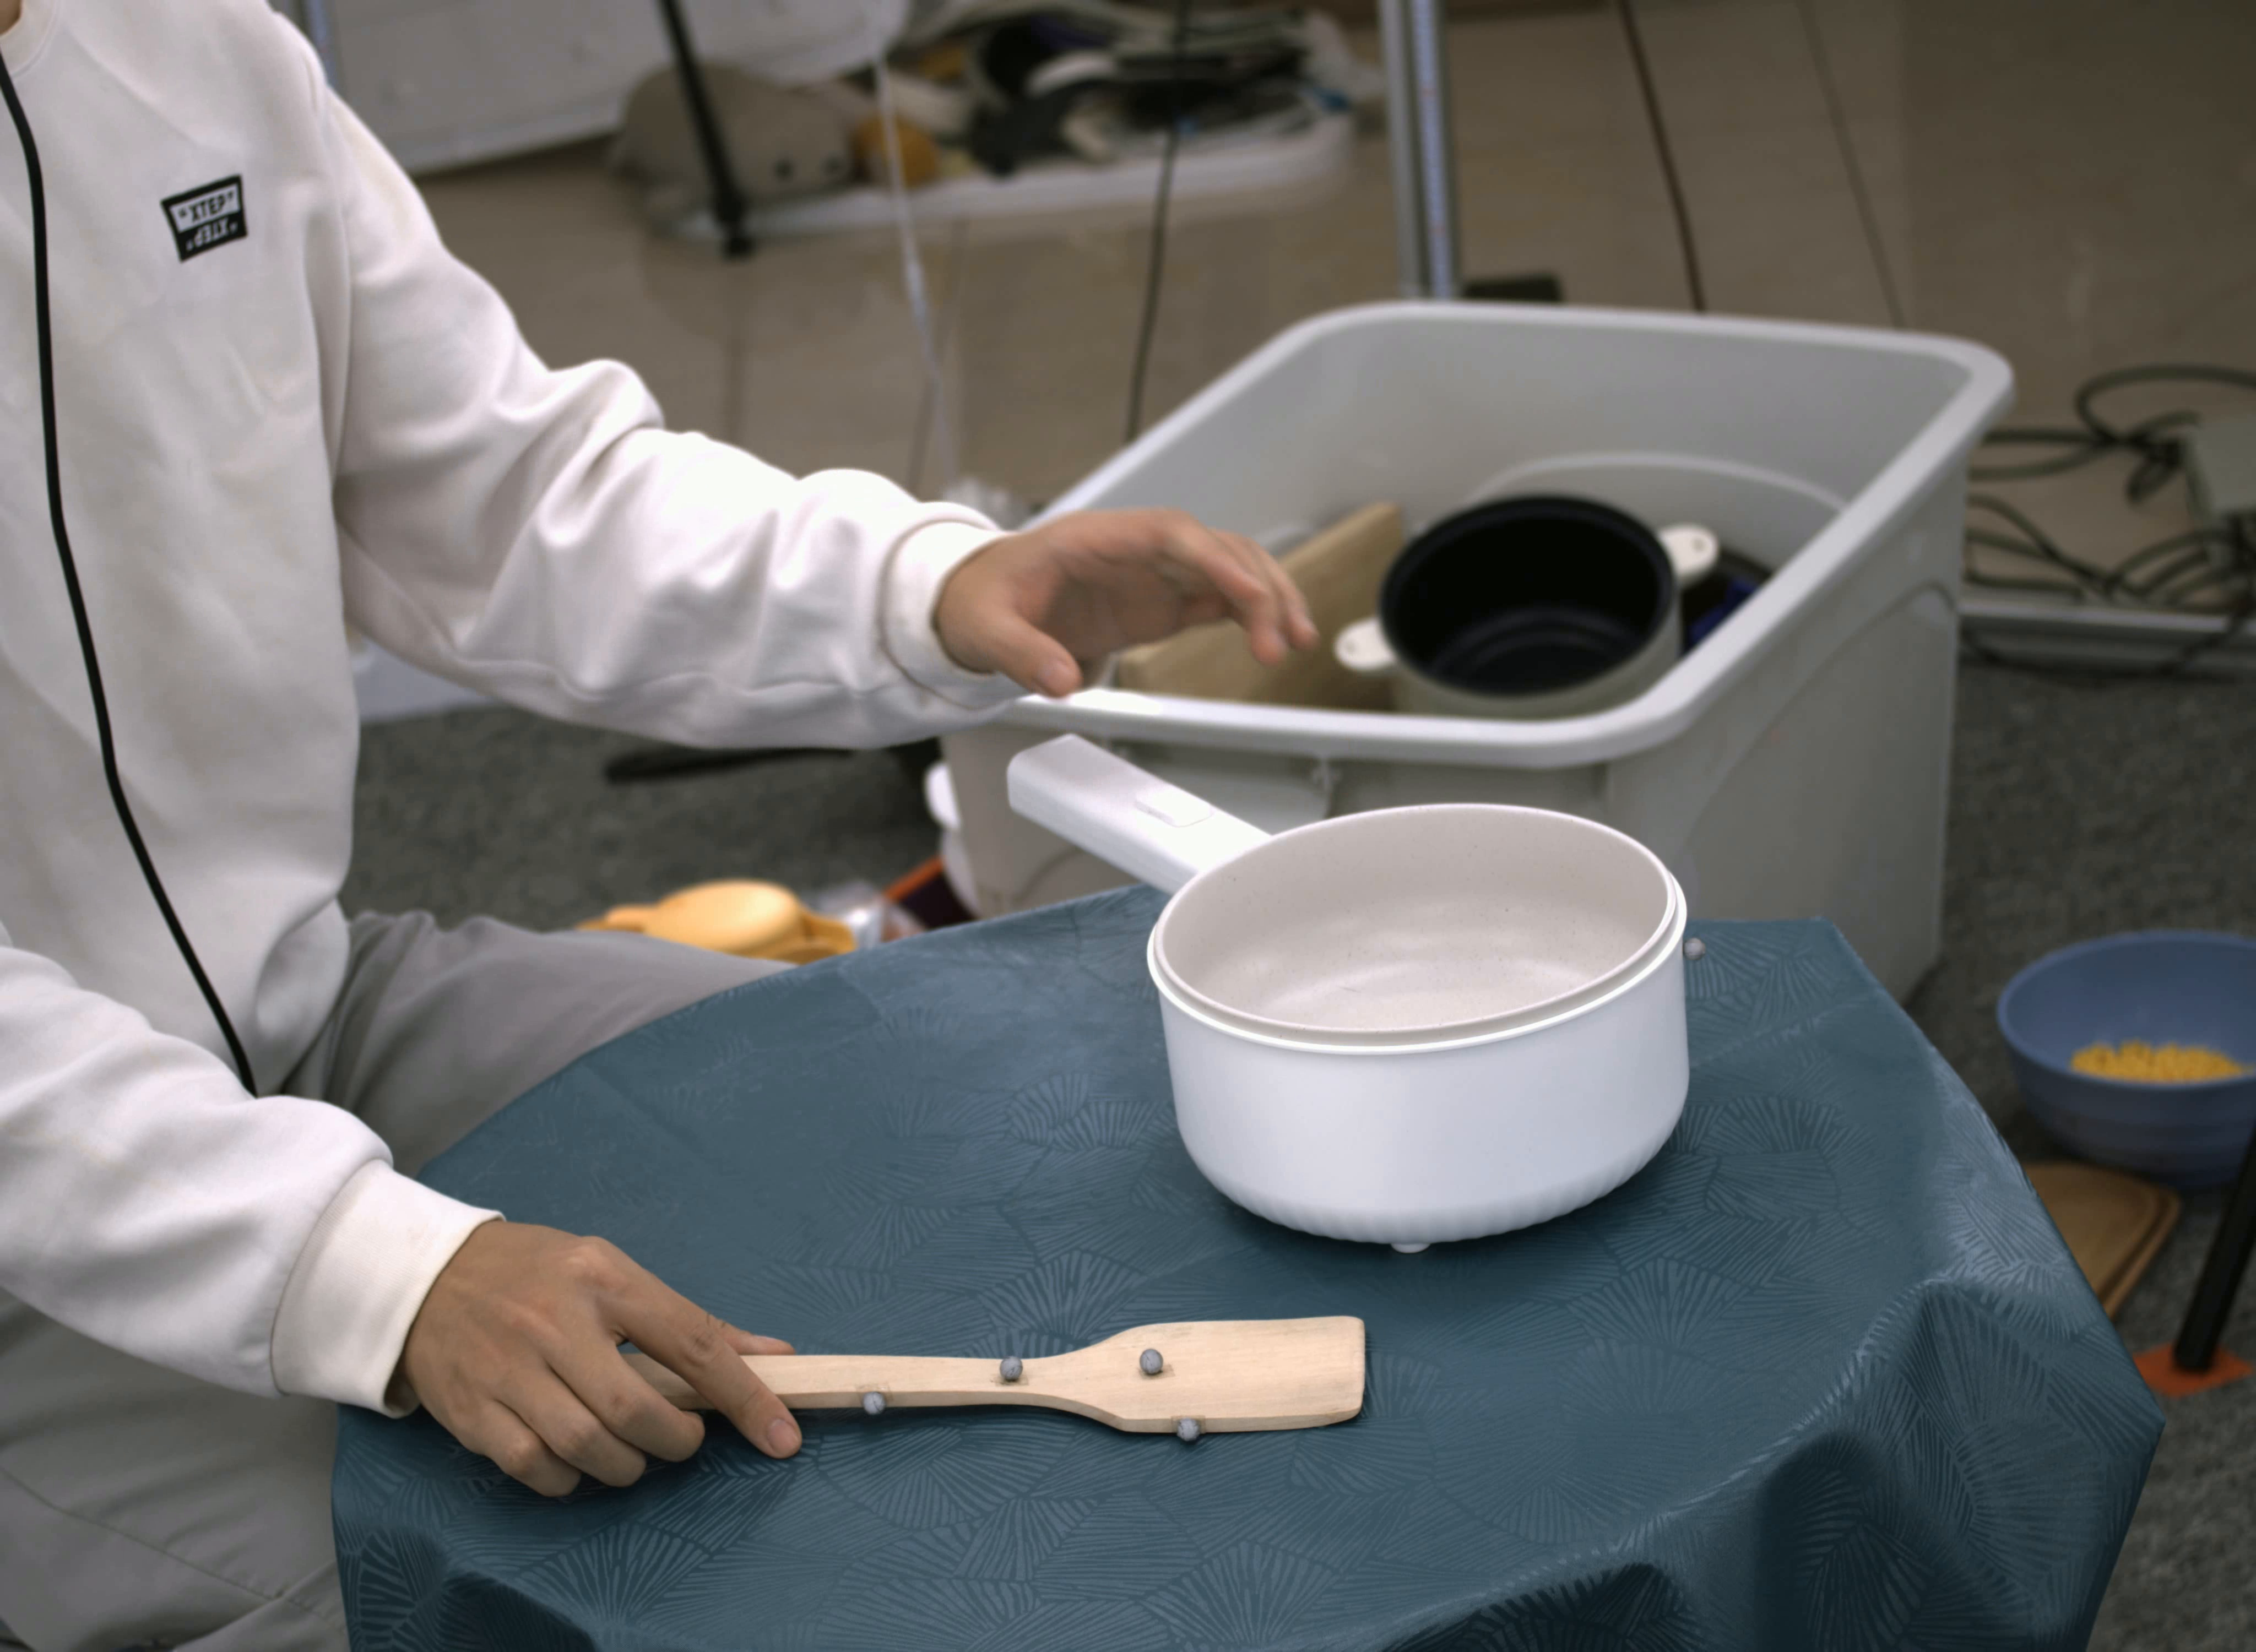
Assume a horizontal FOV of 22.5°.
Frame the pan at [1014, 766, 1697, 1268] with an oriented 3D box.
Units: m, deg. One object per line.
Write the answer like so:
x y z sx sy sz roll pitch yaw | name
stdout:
0.071 0.065 2.191 0.200 0.103 0.351 -25 27 -27 | pan
